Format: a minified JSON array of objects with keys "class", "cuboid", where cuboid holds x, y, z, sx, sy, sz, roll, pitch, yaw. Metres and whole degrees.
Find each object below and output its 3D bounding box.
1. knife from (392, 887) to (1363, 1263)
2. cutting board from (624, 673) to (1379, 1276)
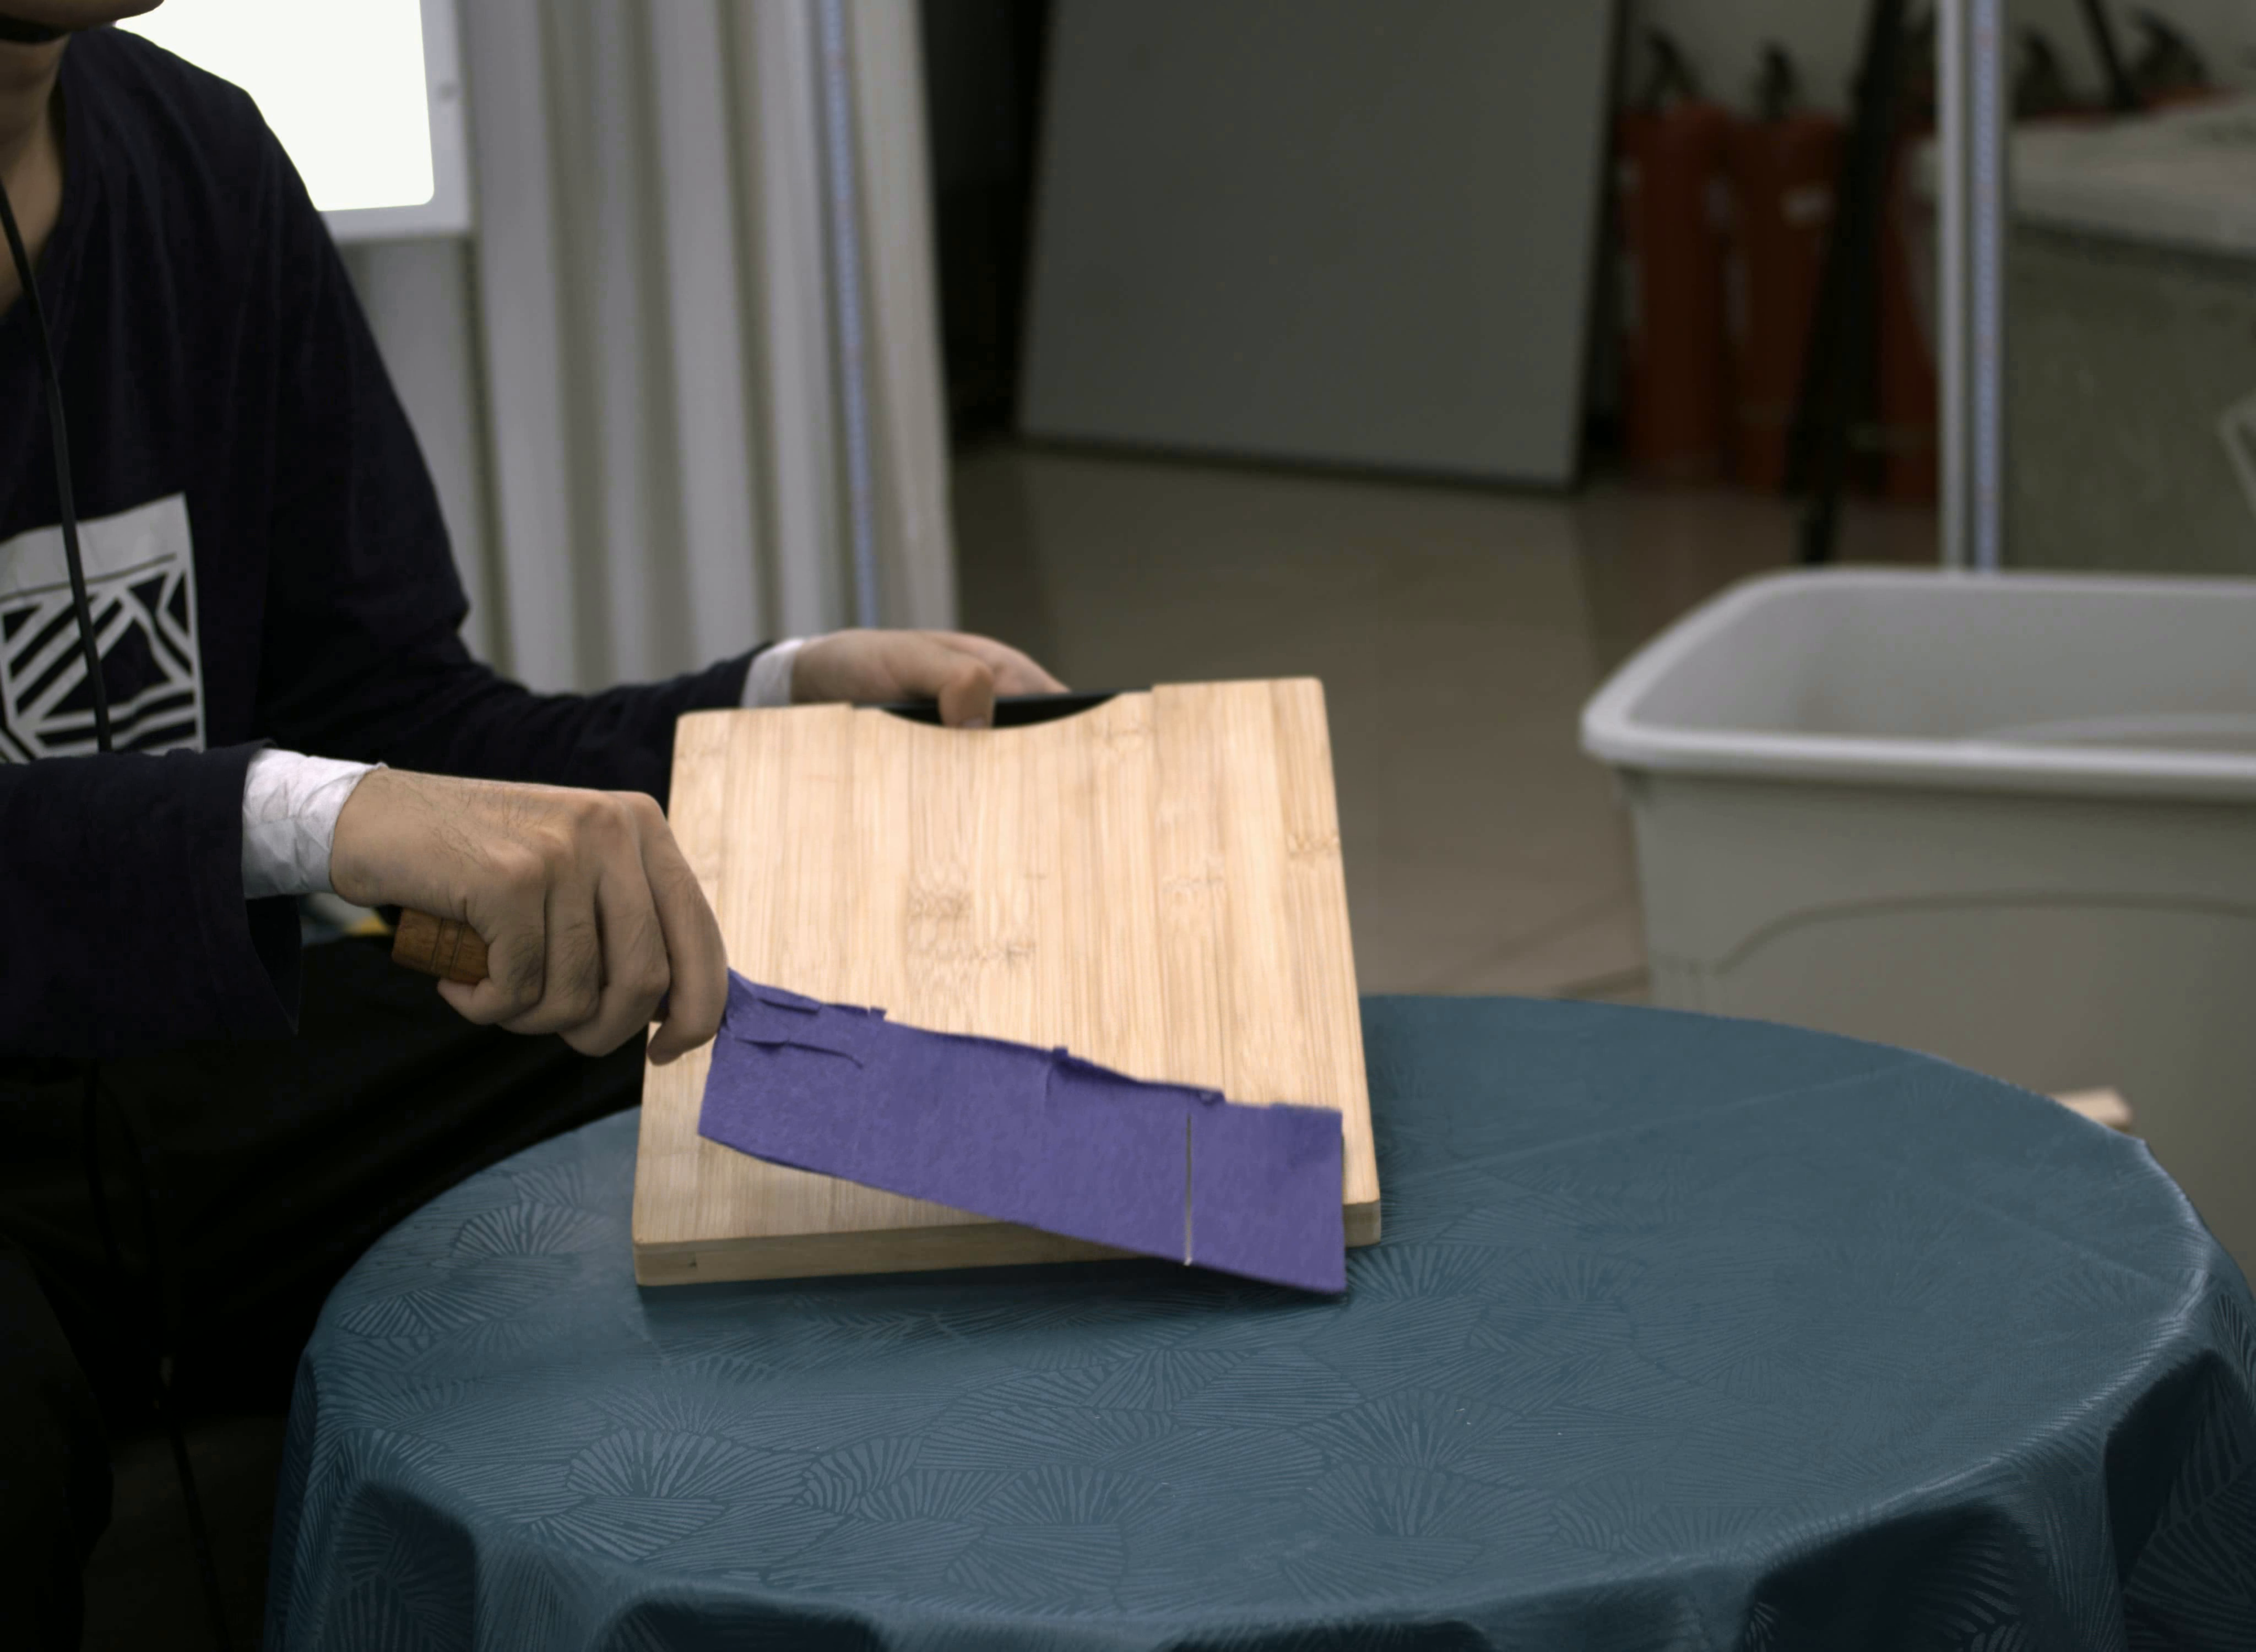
[{"class":"knife","cuboid":[-0.077,0.078,1.679,0.311,0.032,0.104,11,30,-4]},{"class":"cutting board","cuboid":[-0.041,0.046,1.854,0.247,0.024,0.350,-4,30,1]}]
